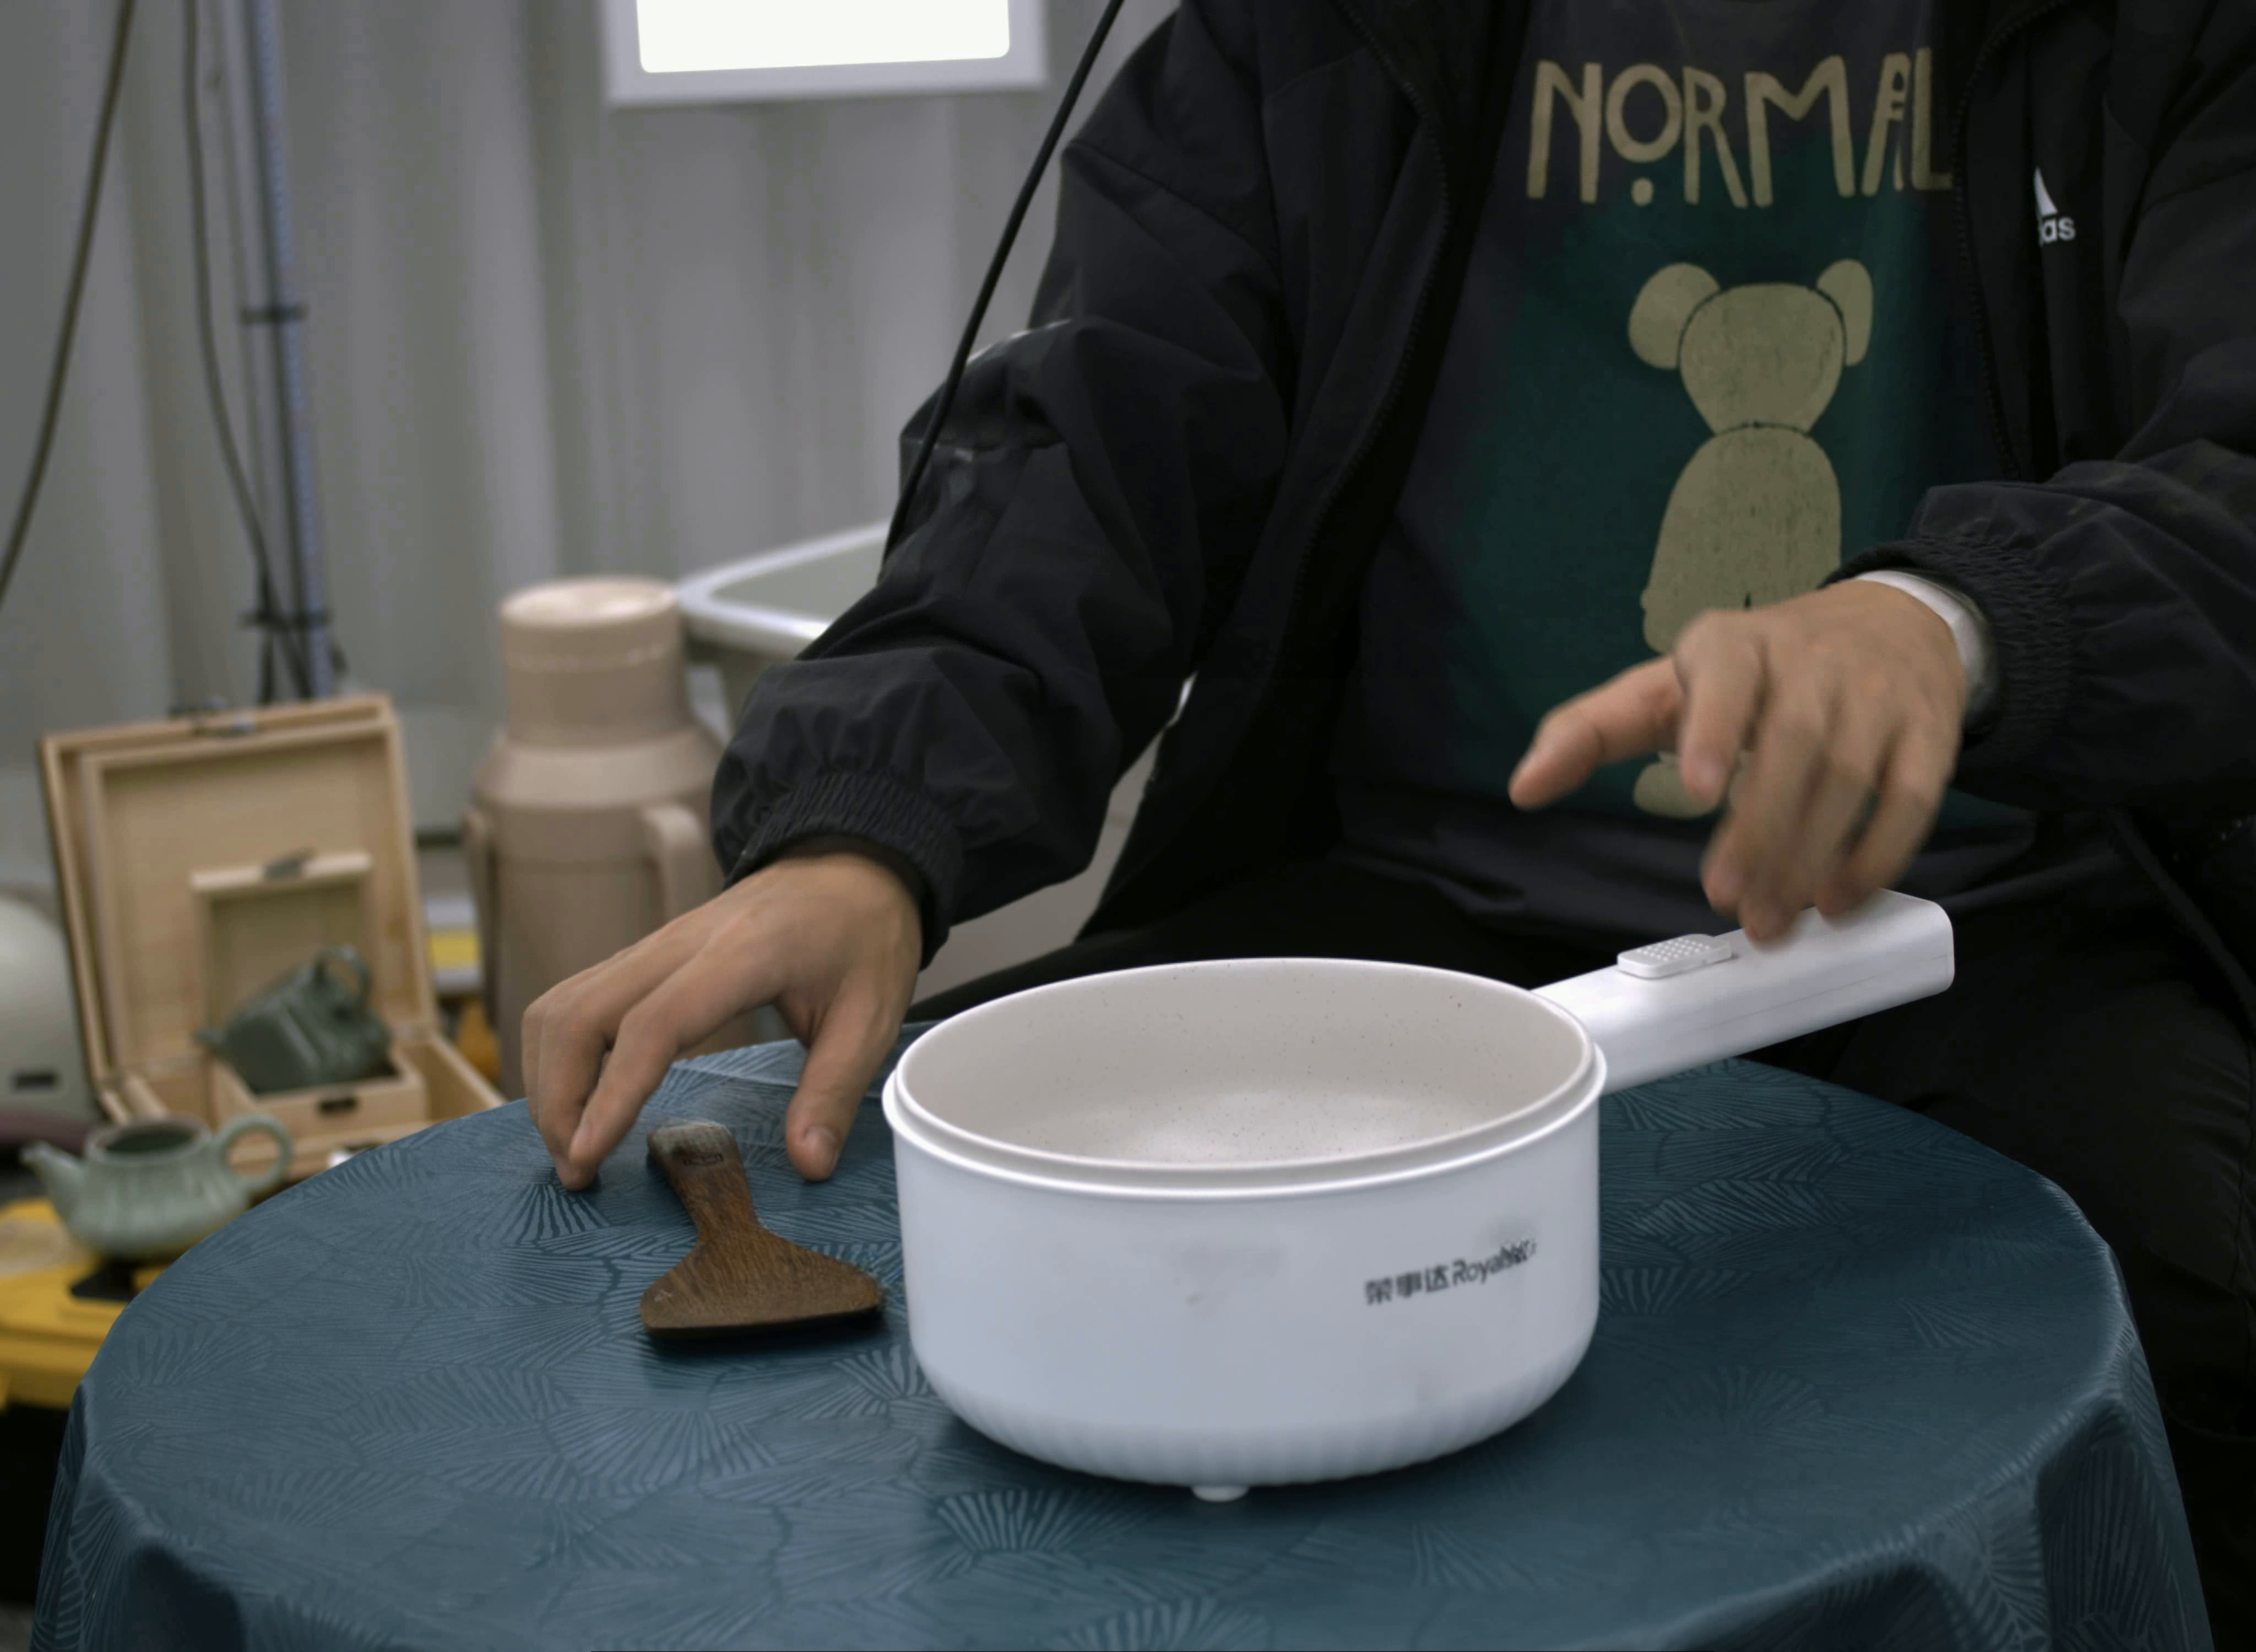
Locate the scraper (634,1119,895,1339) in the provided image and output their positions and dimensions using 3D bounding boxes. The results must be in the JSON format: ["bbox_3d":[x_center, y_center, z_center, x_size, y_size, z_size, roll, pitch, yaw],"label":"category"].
[{"bbox_3d":[-0.123,0.123,1.687,0.075,0.011,0.213,-5,15,-10],"label":"scraper"}]

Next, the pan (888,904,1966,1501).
[{"bbox_3d":[0.097,0.100,1.566,0.353,0.102,0.202,-11,16,-34],"label":"pan"}]
